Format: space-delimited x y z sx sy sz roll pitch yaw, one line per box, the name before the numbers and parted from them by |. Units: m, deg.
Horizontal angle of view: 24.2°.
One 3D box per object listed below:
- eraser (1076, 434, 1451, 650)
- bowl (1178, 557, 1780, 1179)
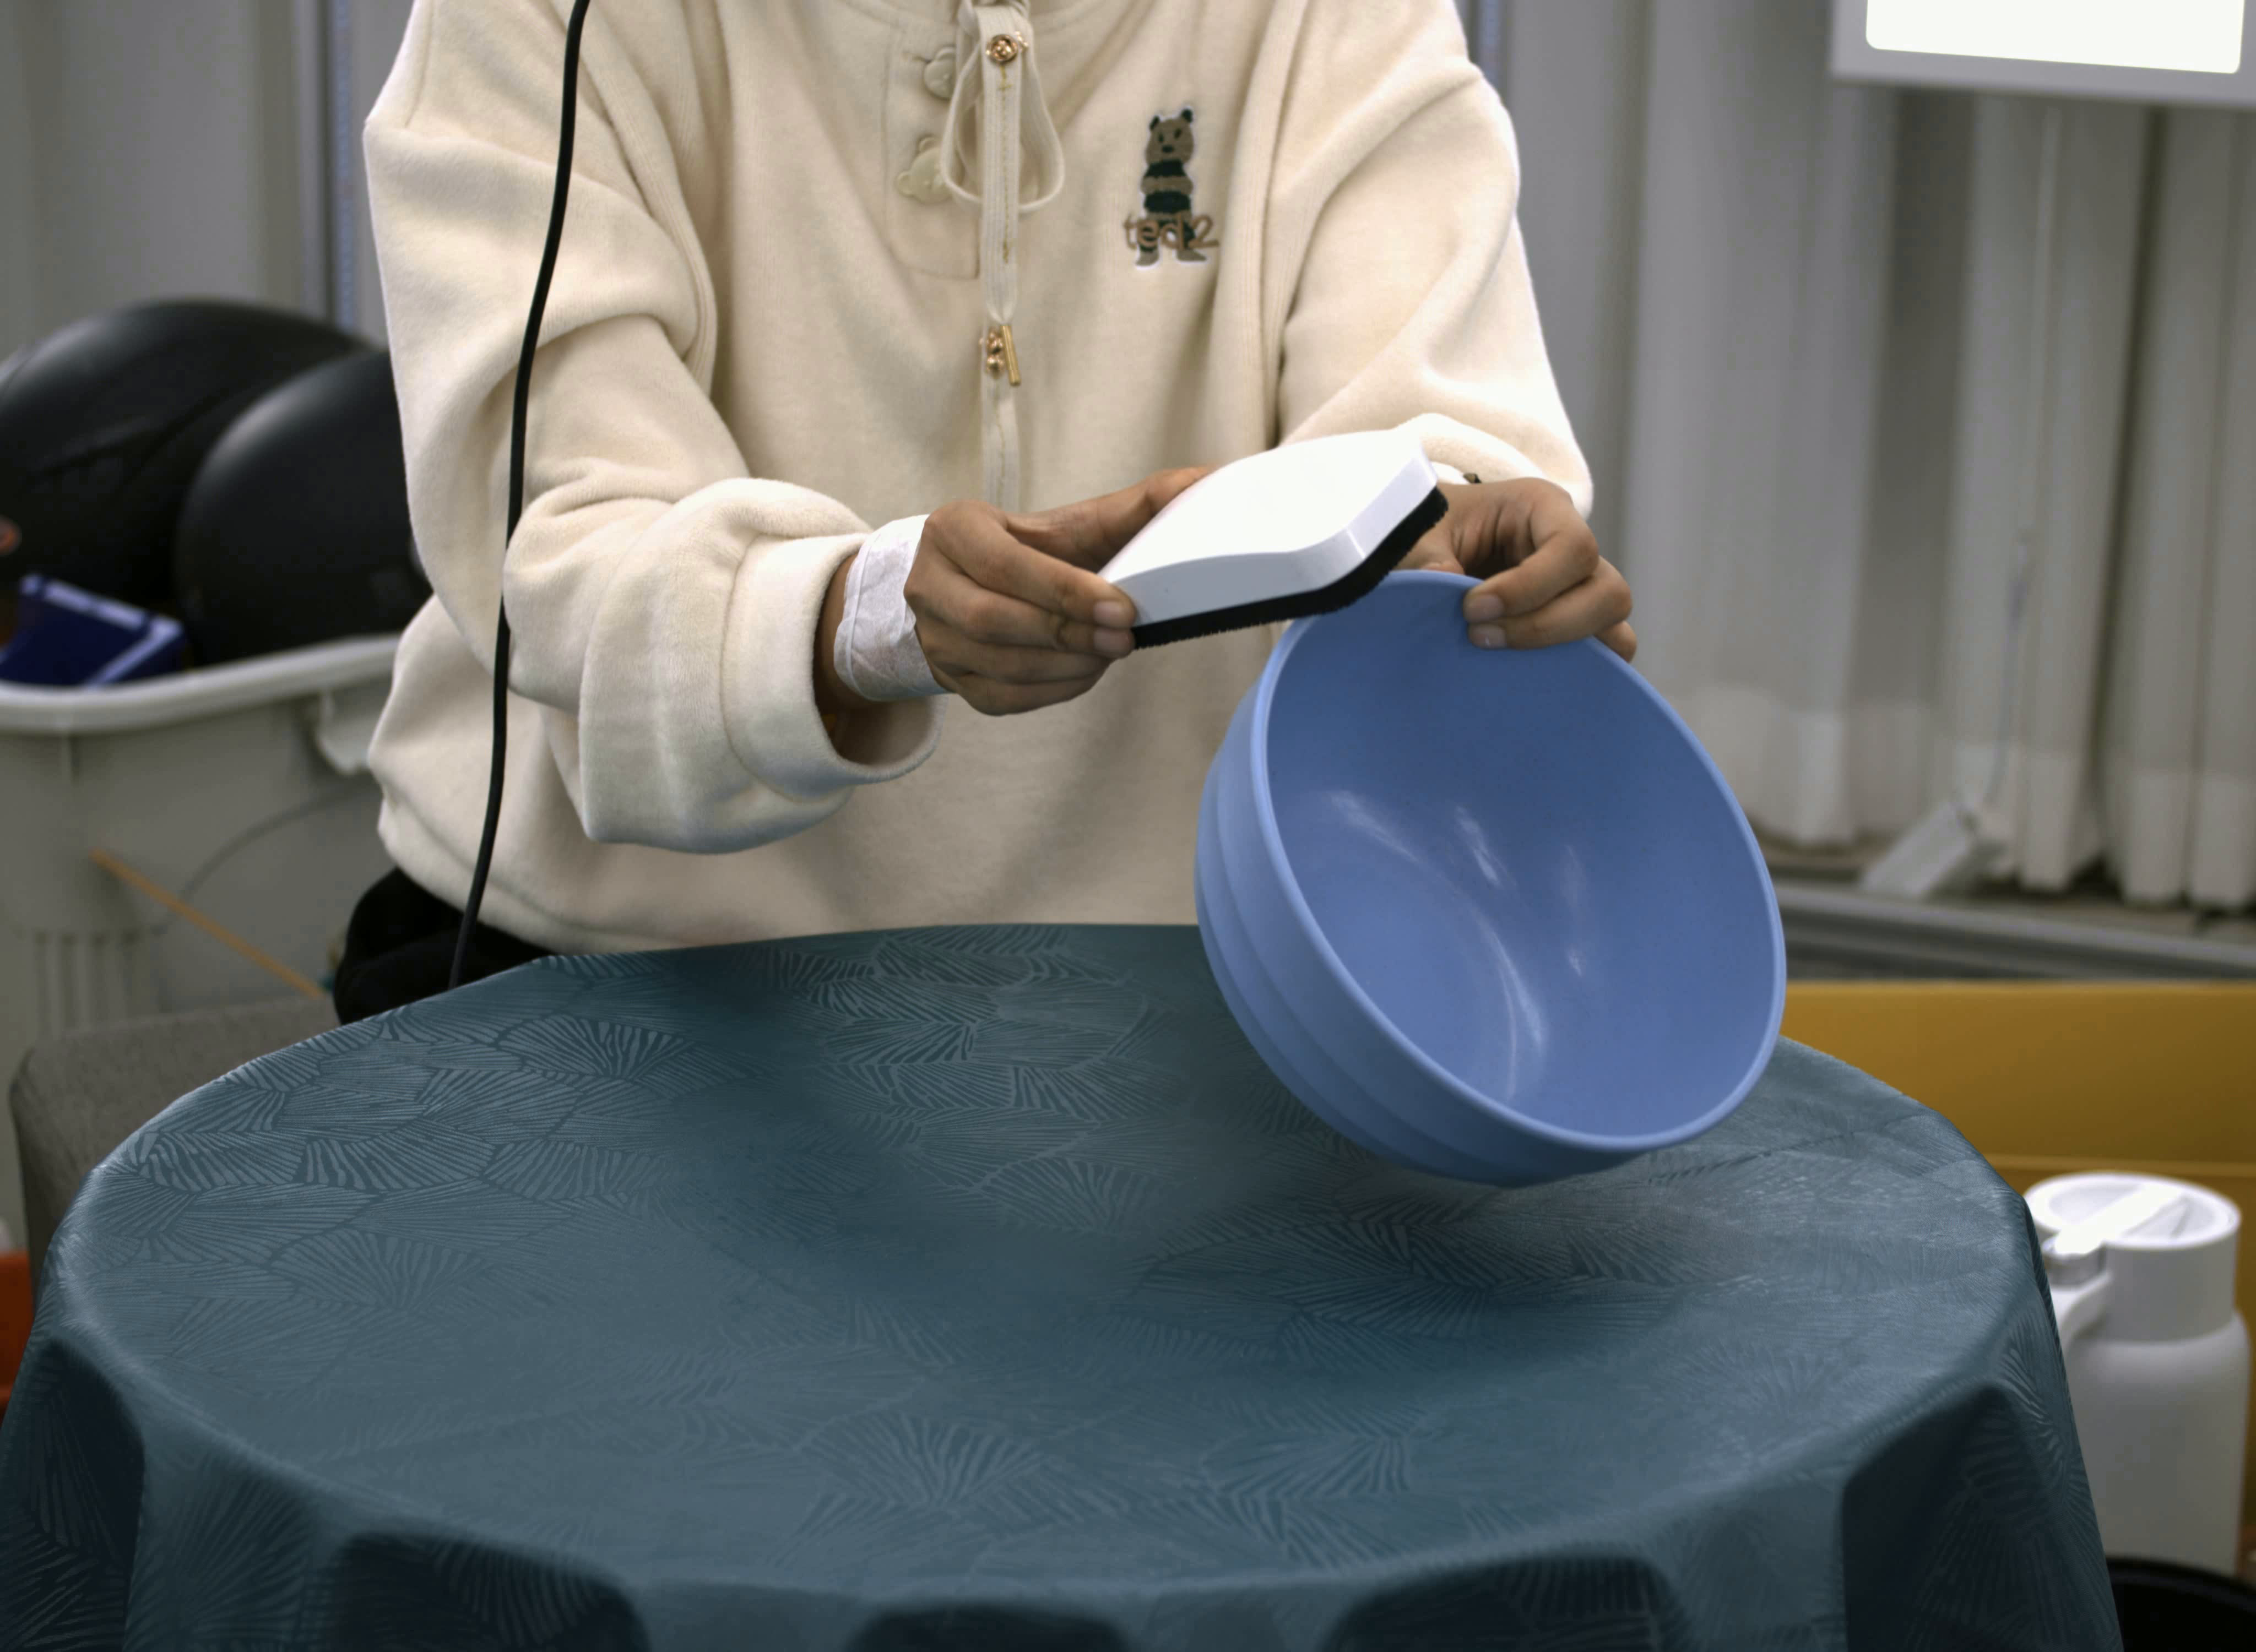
eraser | 0.040 -0.087 1.589 0.063 0.035 0.130 -46 21 -30
bowl | 0.091 0.027 1.594 0.197 0.195 0.095 -12 -19 -37
